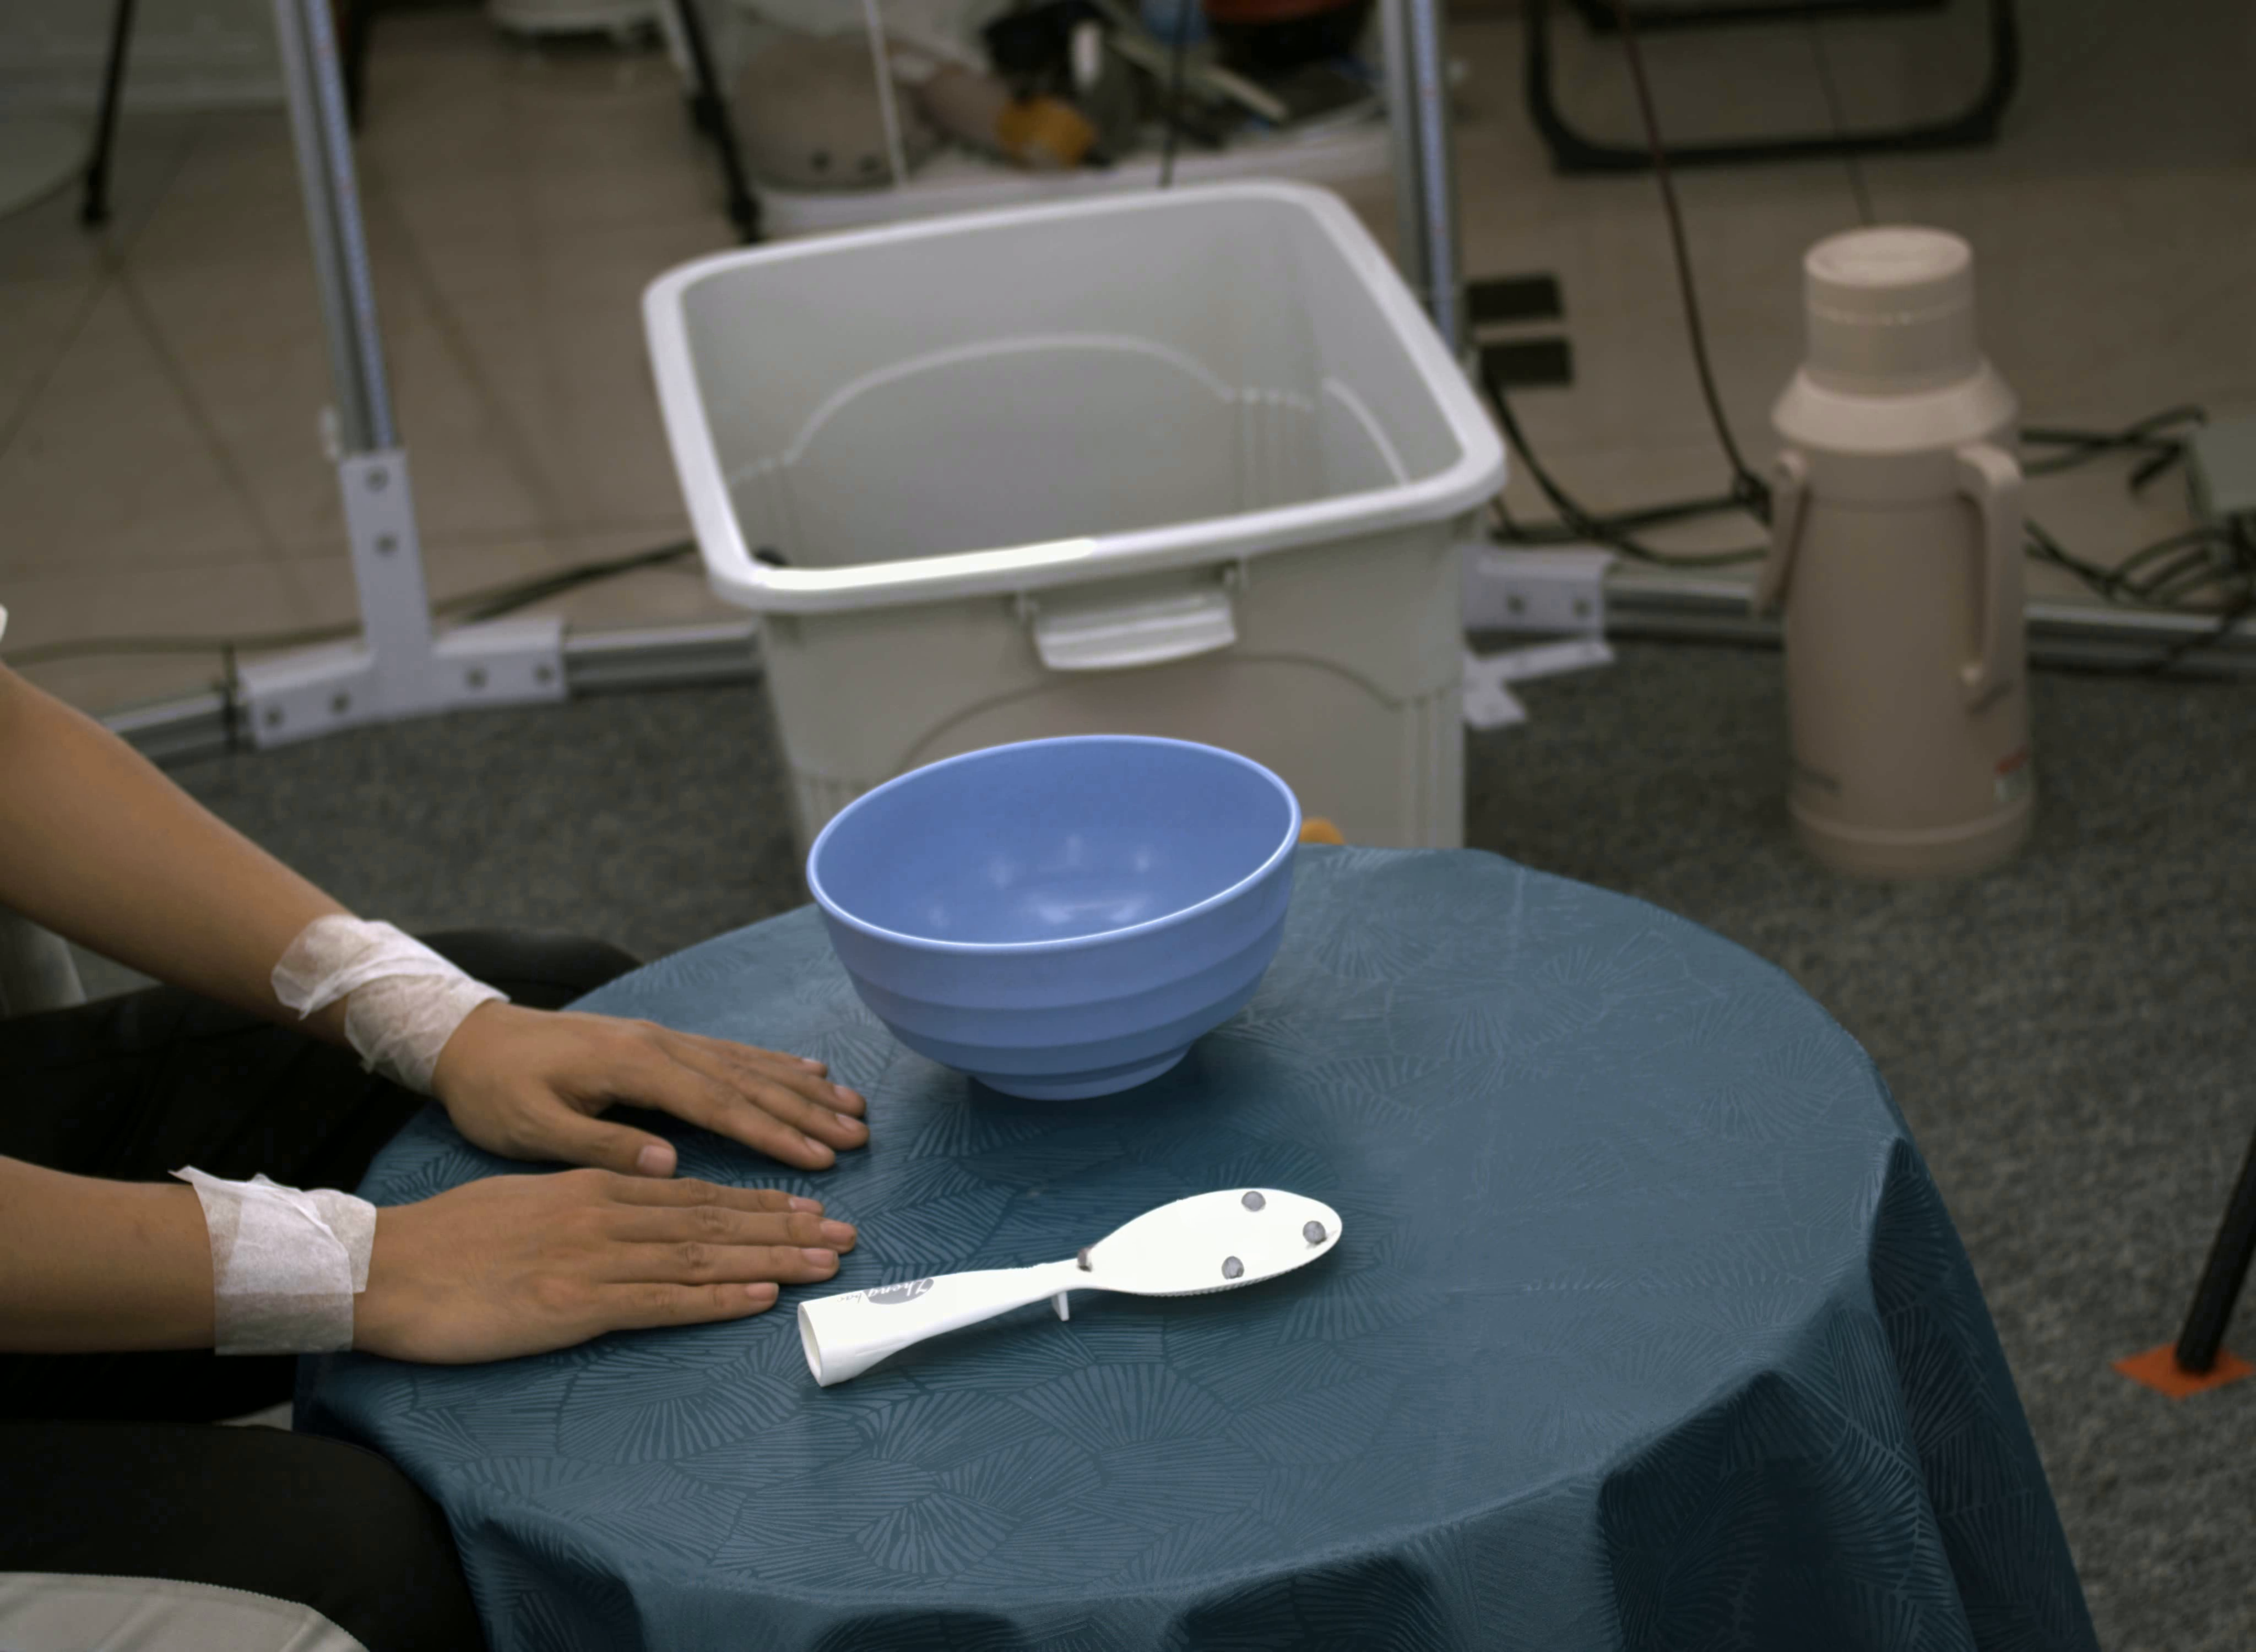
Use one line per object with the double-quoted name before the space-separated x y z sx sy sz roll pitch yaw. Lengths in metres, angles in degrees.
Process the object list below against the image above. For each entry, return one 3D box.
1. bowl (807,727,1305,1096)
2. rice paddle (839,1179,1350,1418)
"bowl" -0.025 0.044 2.243 0.196 0.097 0.193 -4 26 2
"rice paddle" -0.009 0.164 2.074 0.204 0.030 0.068 -21 15 -21
